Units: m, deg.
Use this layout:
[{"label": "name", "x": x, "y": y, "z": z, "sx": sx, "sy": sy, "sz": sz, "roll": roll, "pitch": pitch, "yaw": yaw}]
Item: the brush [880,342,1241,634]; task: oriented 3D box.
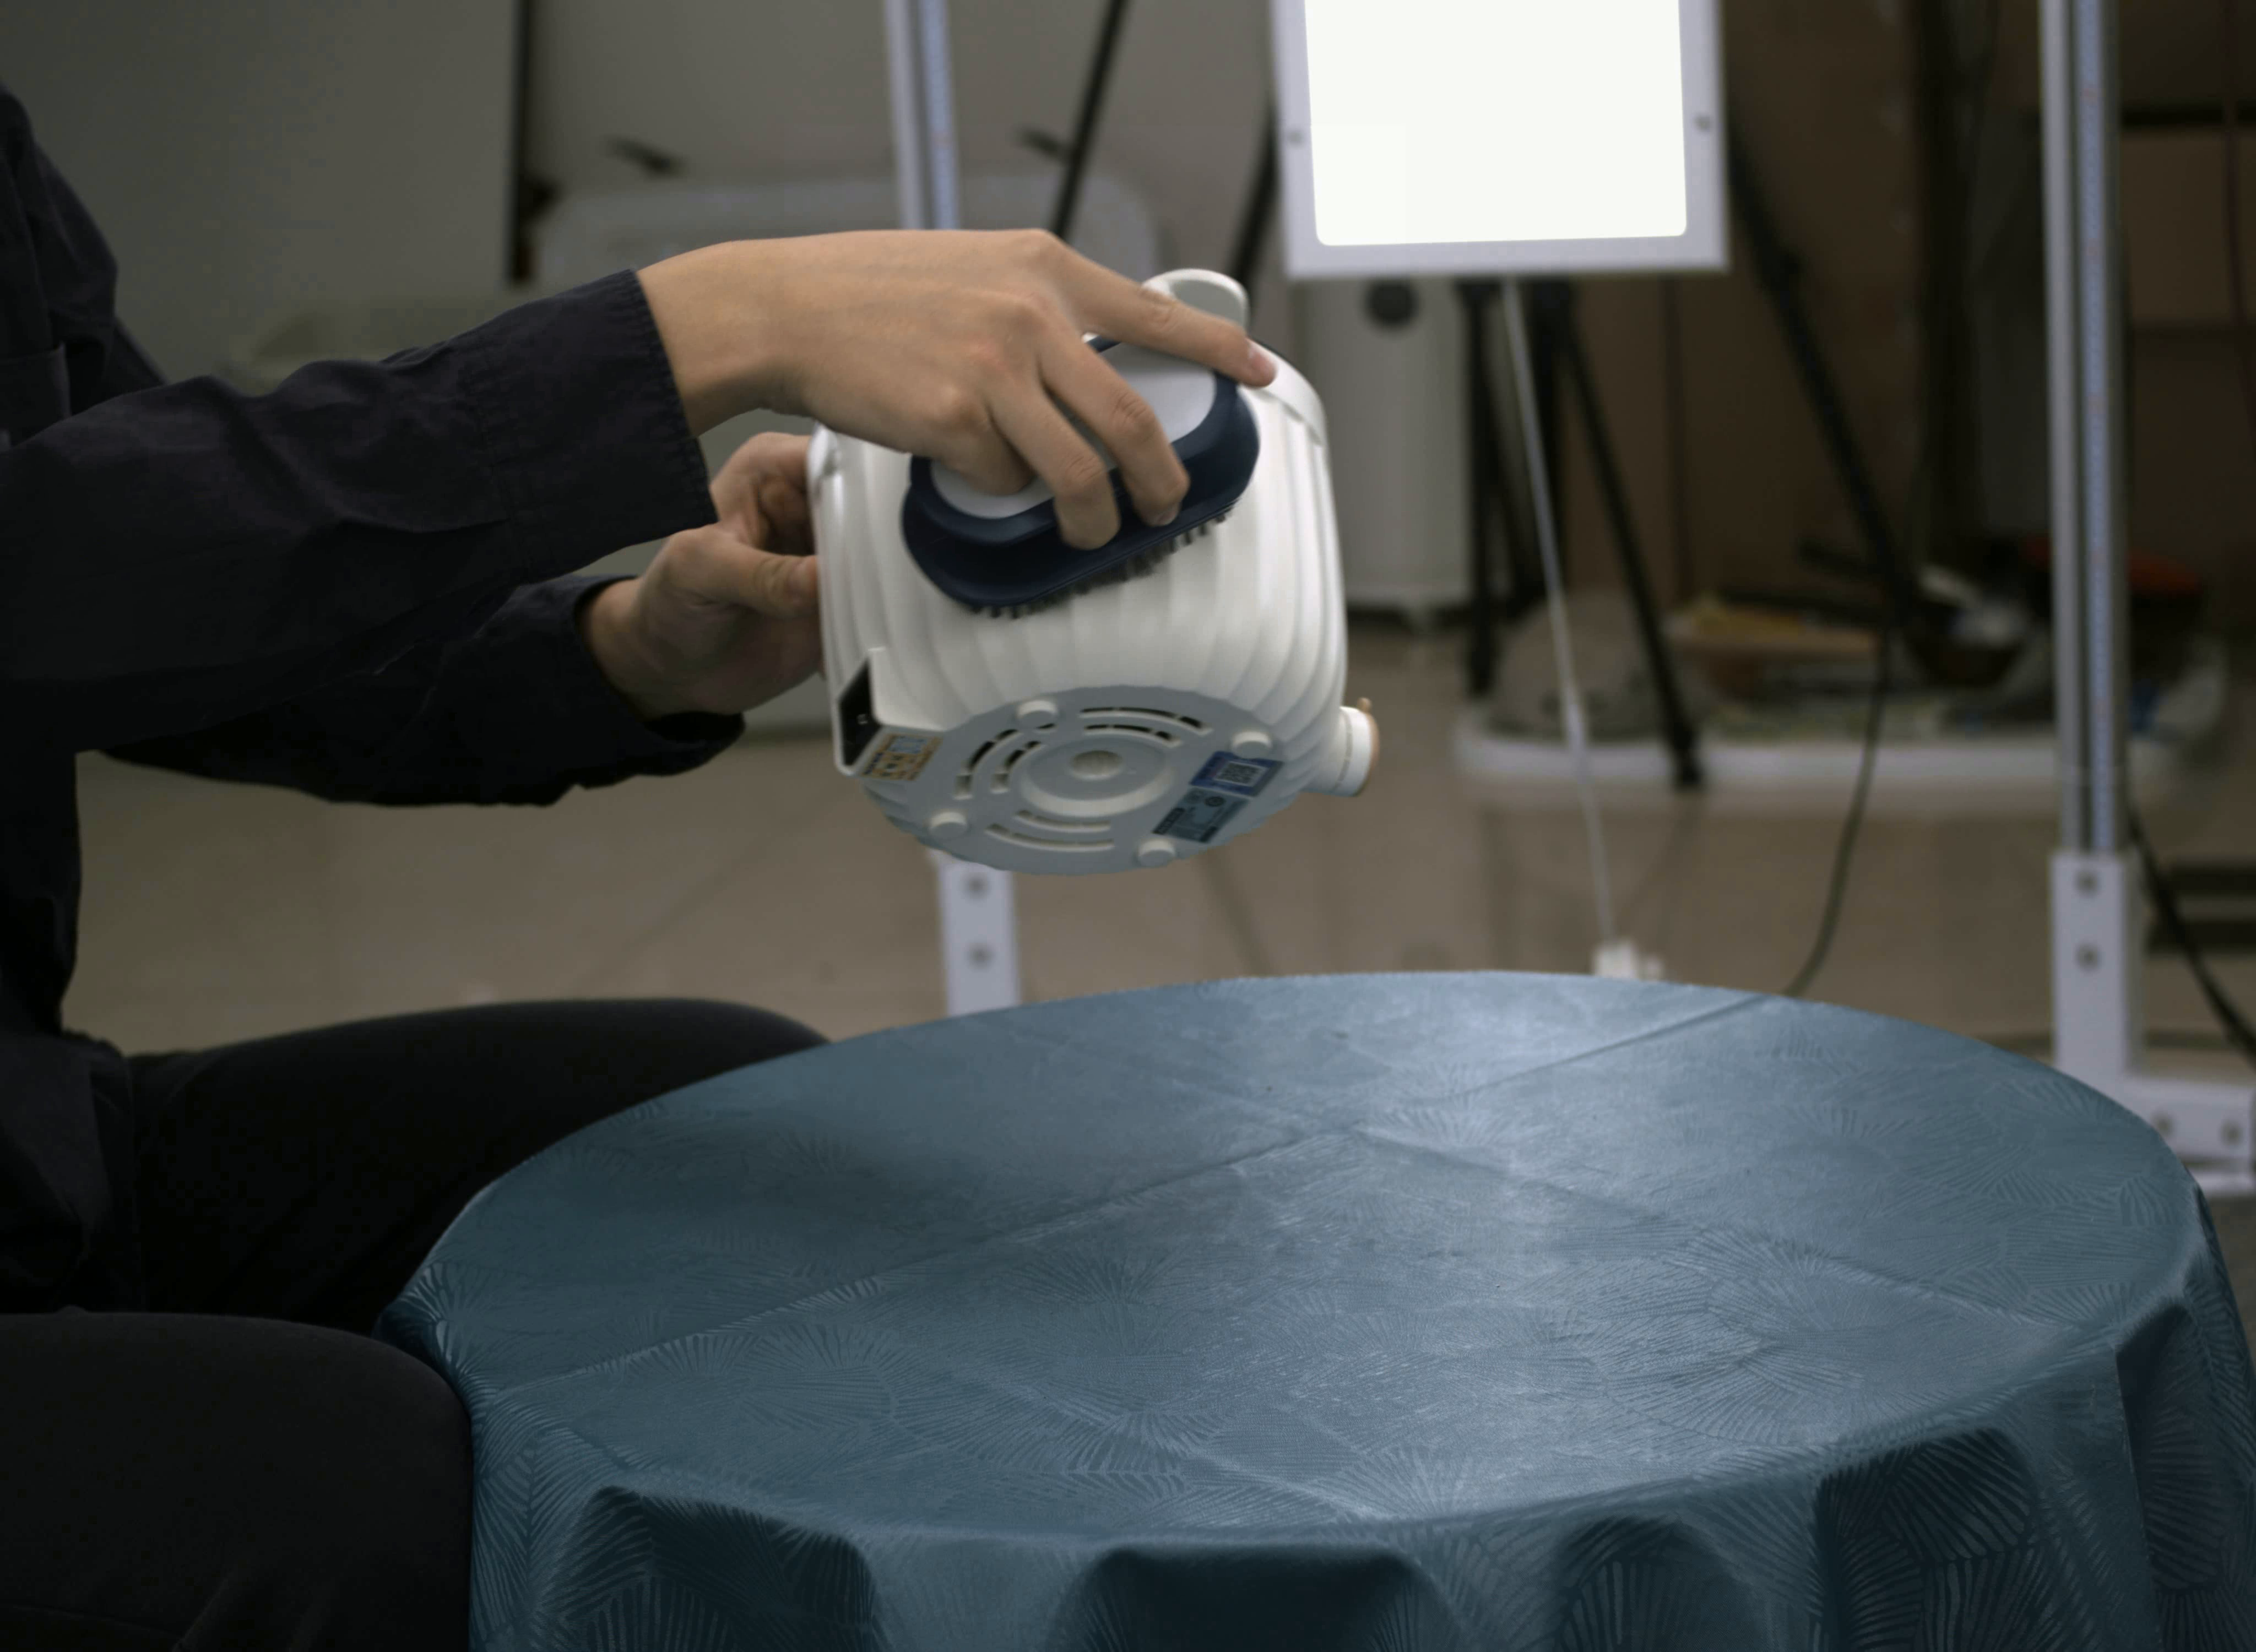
[{"label": "brush", "x": -0.021, "y": -0.106, "z": 1.759, "sx": 0.120, "sy": 0.068, "sz": 0.061, "roll": -21, "pitch": -26, "yaw": -7}]

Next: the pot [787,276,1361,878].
[{"label": "pot", "x": -0.016, "y": -0.070, "z": 1.889, "sx": 0.187, "sy": 0.143, "sz": 0.245, "roll": 5, "pitch": -28, "yaw": -24}]
